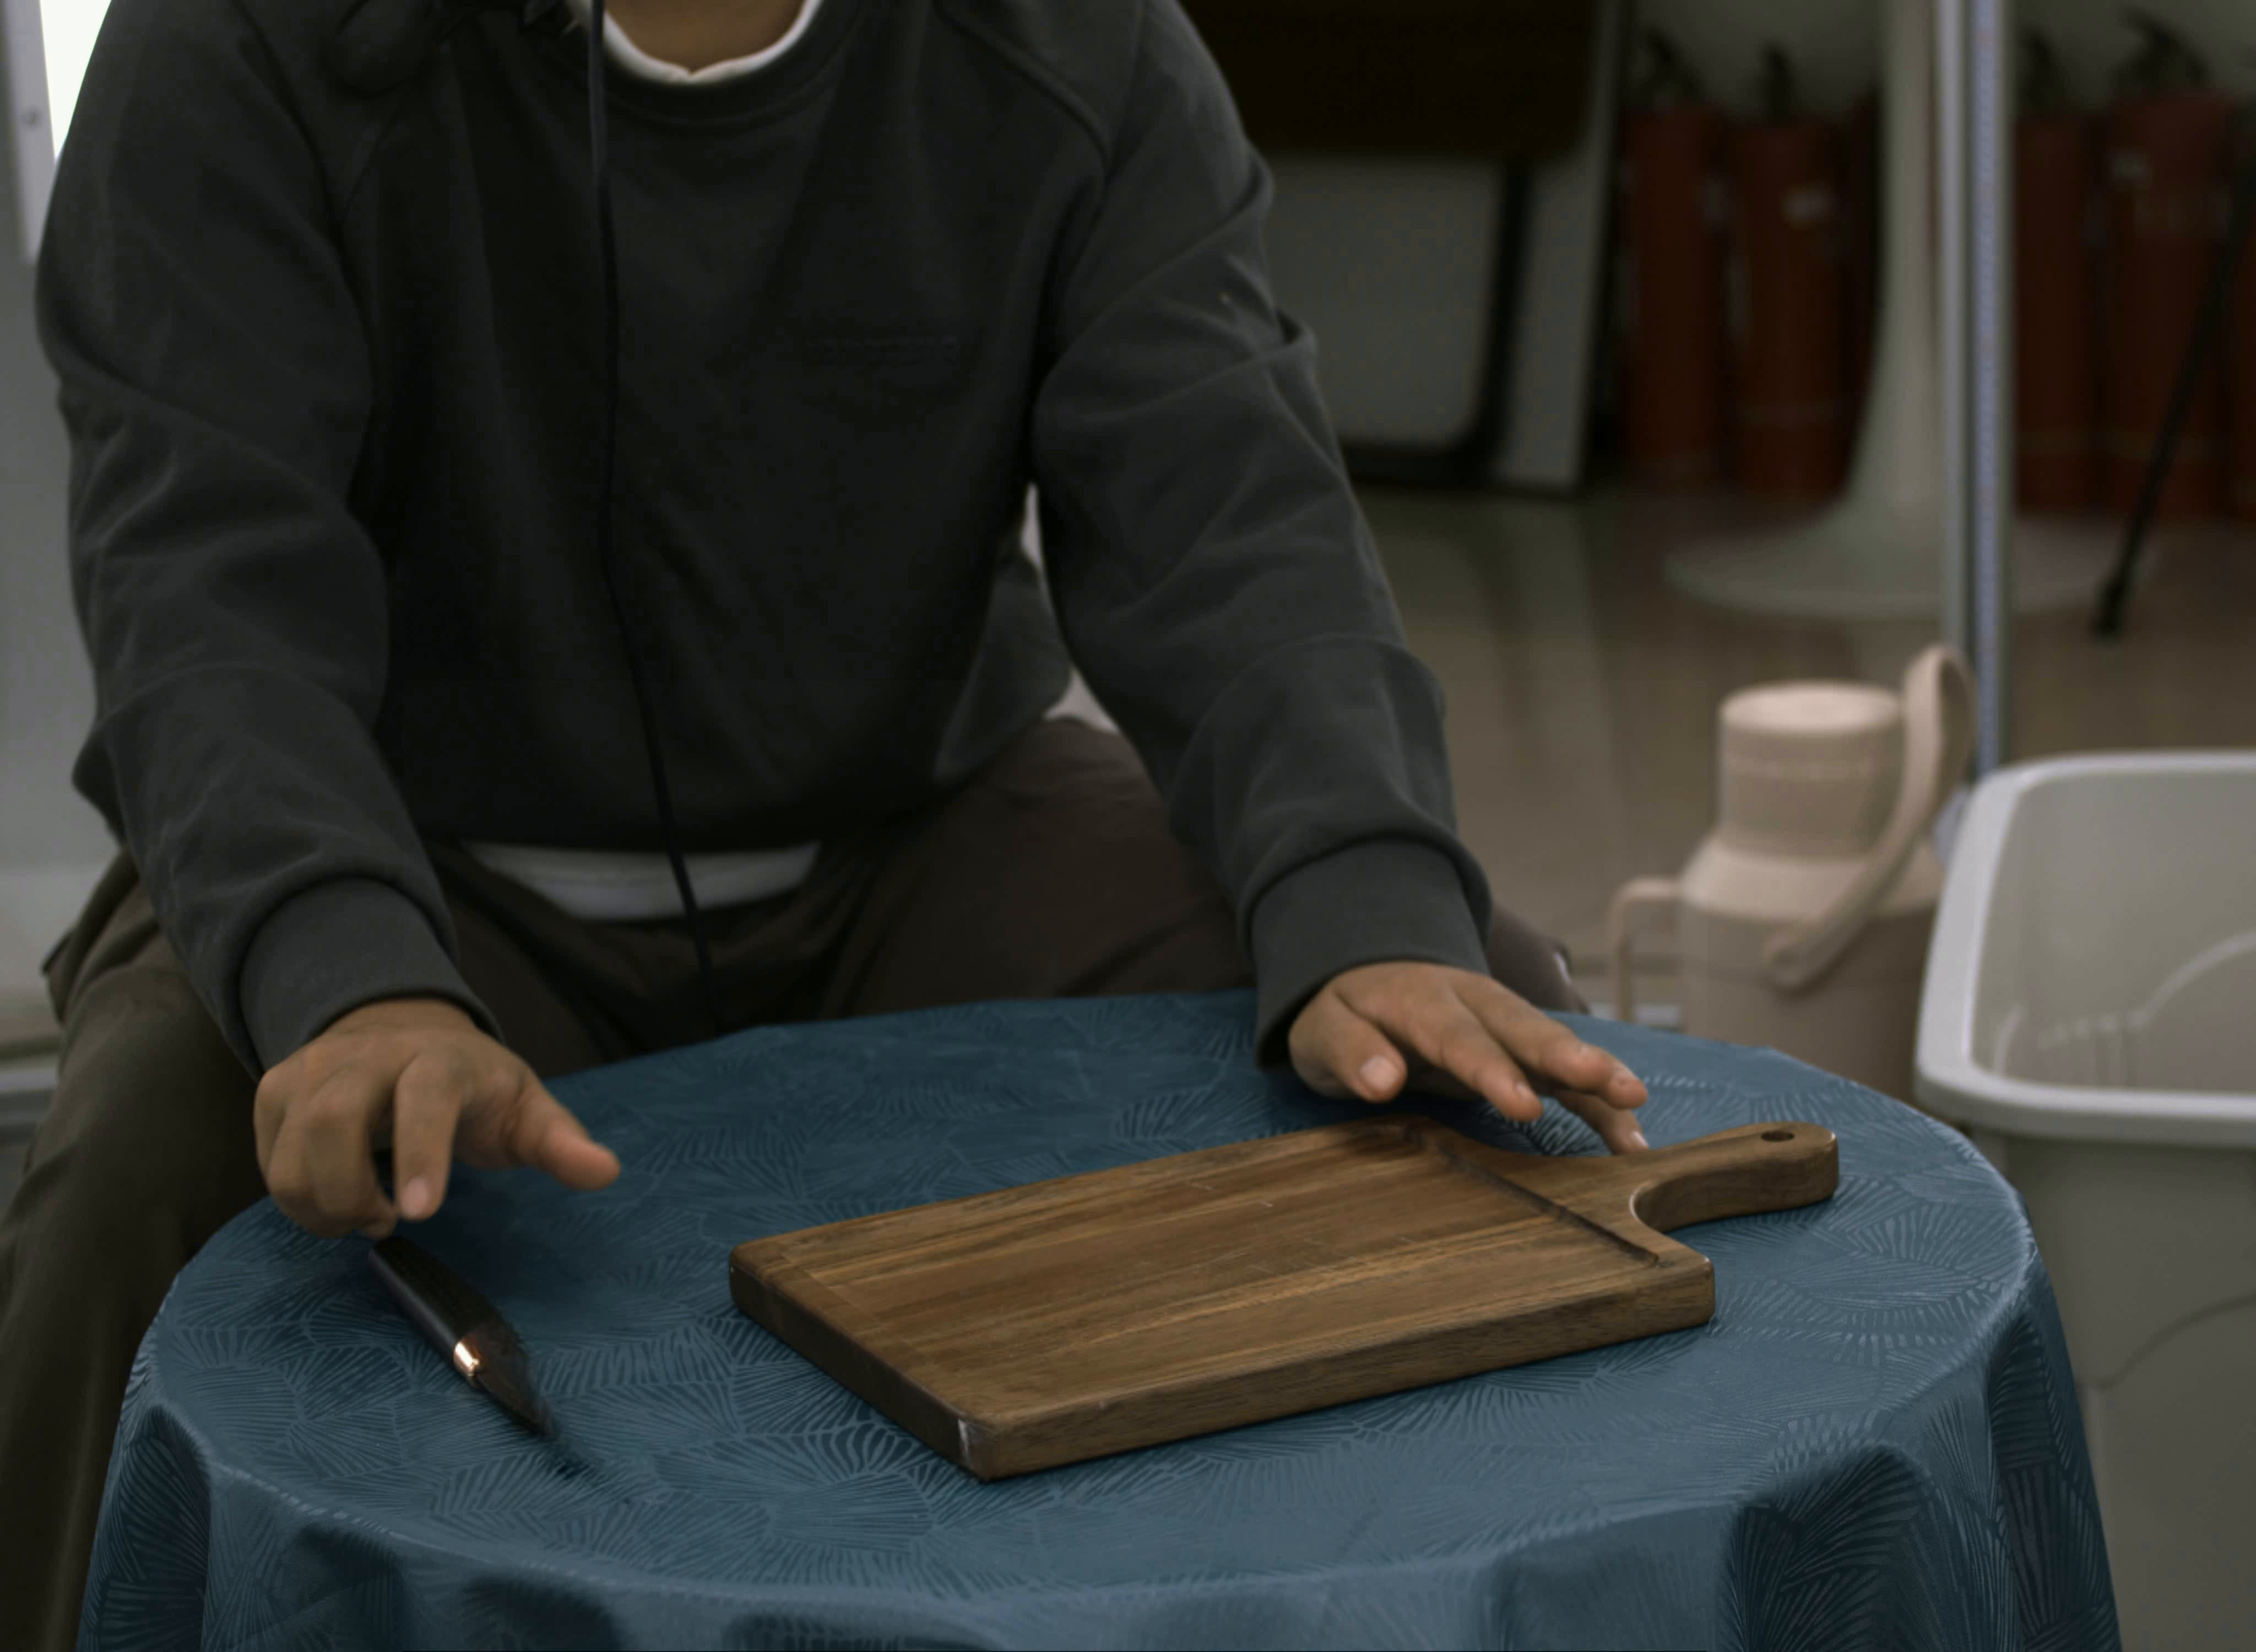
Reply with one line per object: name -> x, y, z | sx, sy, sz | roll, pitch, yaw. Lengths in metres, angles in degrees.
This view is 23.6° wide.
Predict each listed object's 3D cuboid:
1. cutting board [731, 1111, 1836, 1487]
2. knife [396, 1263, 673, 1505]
cutting board -> 0.071, 0.132, 1.665 | 0.344, 0.023, 0.203 | -10, 15, -24
knife -> -0.180, 0.167, 1.619 | 0.025, 0.017, 0.228 | -4, 13, -23
